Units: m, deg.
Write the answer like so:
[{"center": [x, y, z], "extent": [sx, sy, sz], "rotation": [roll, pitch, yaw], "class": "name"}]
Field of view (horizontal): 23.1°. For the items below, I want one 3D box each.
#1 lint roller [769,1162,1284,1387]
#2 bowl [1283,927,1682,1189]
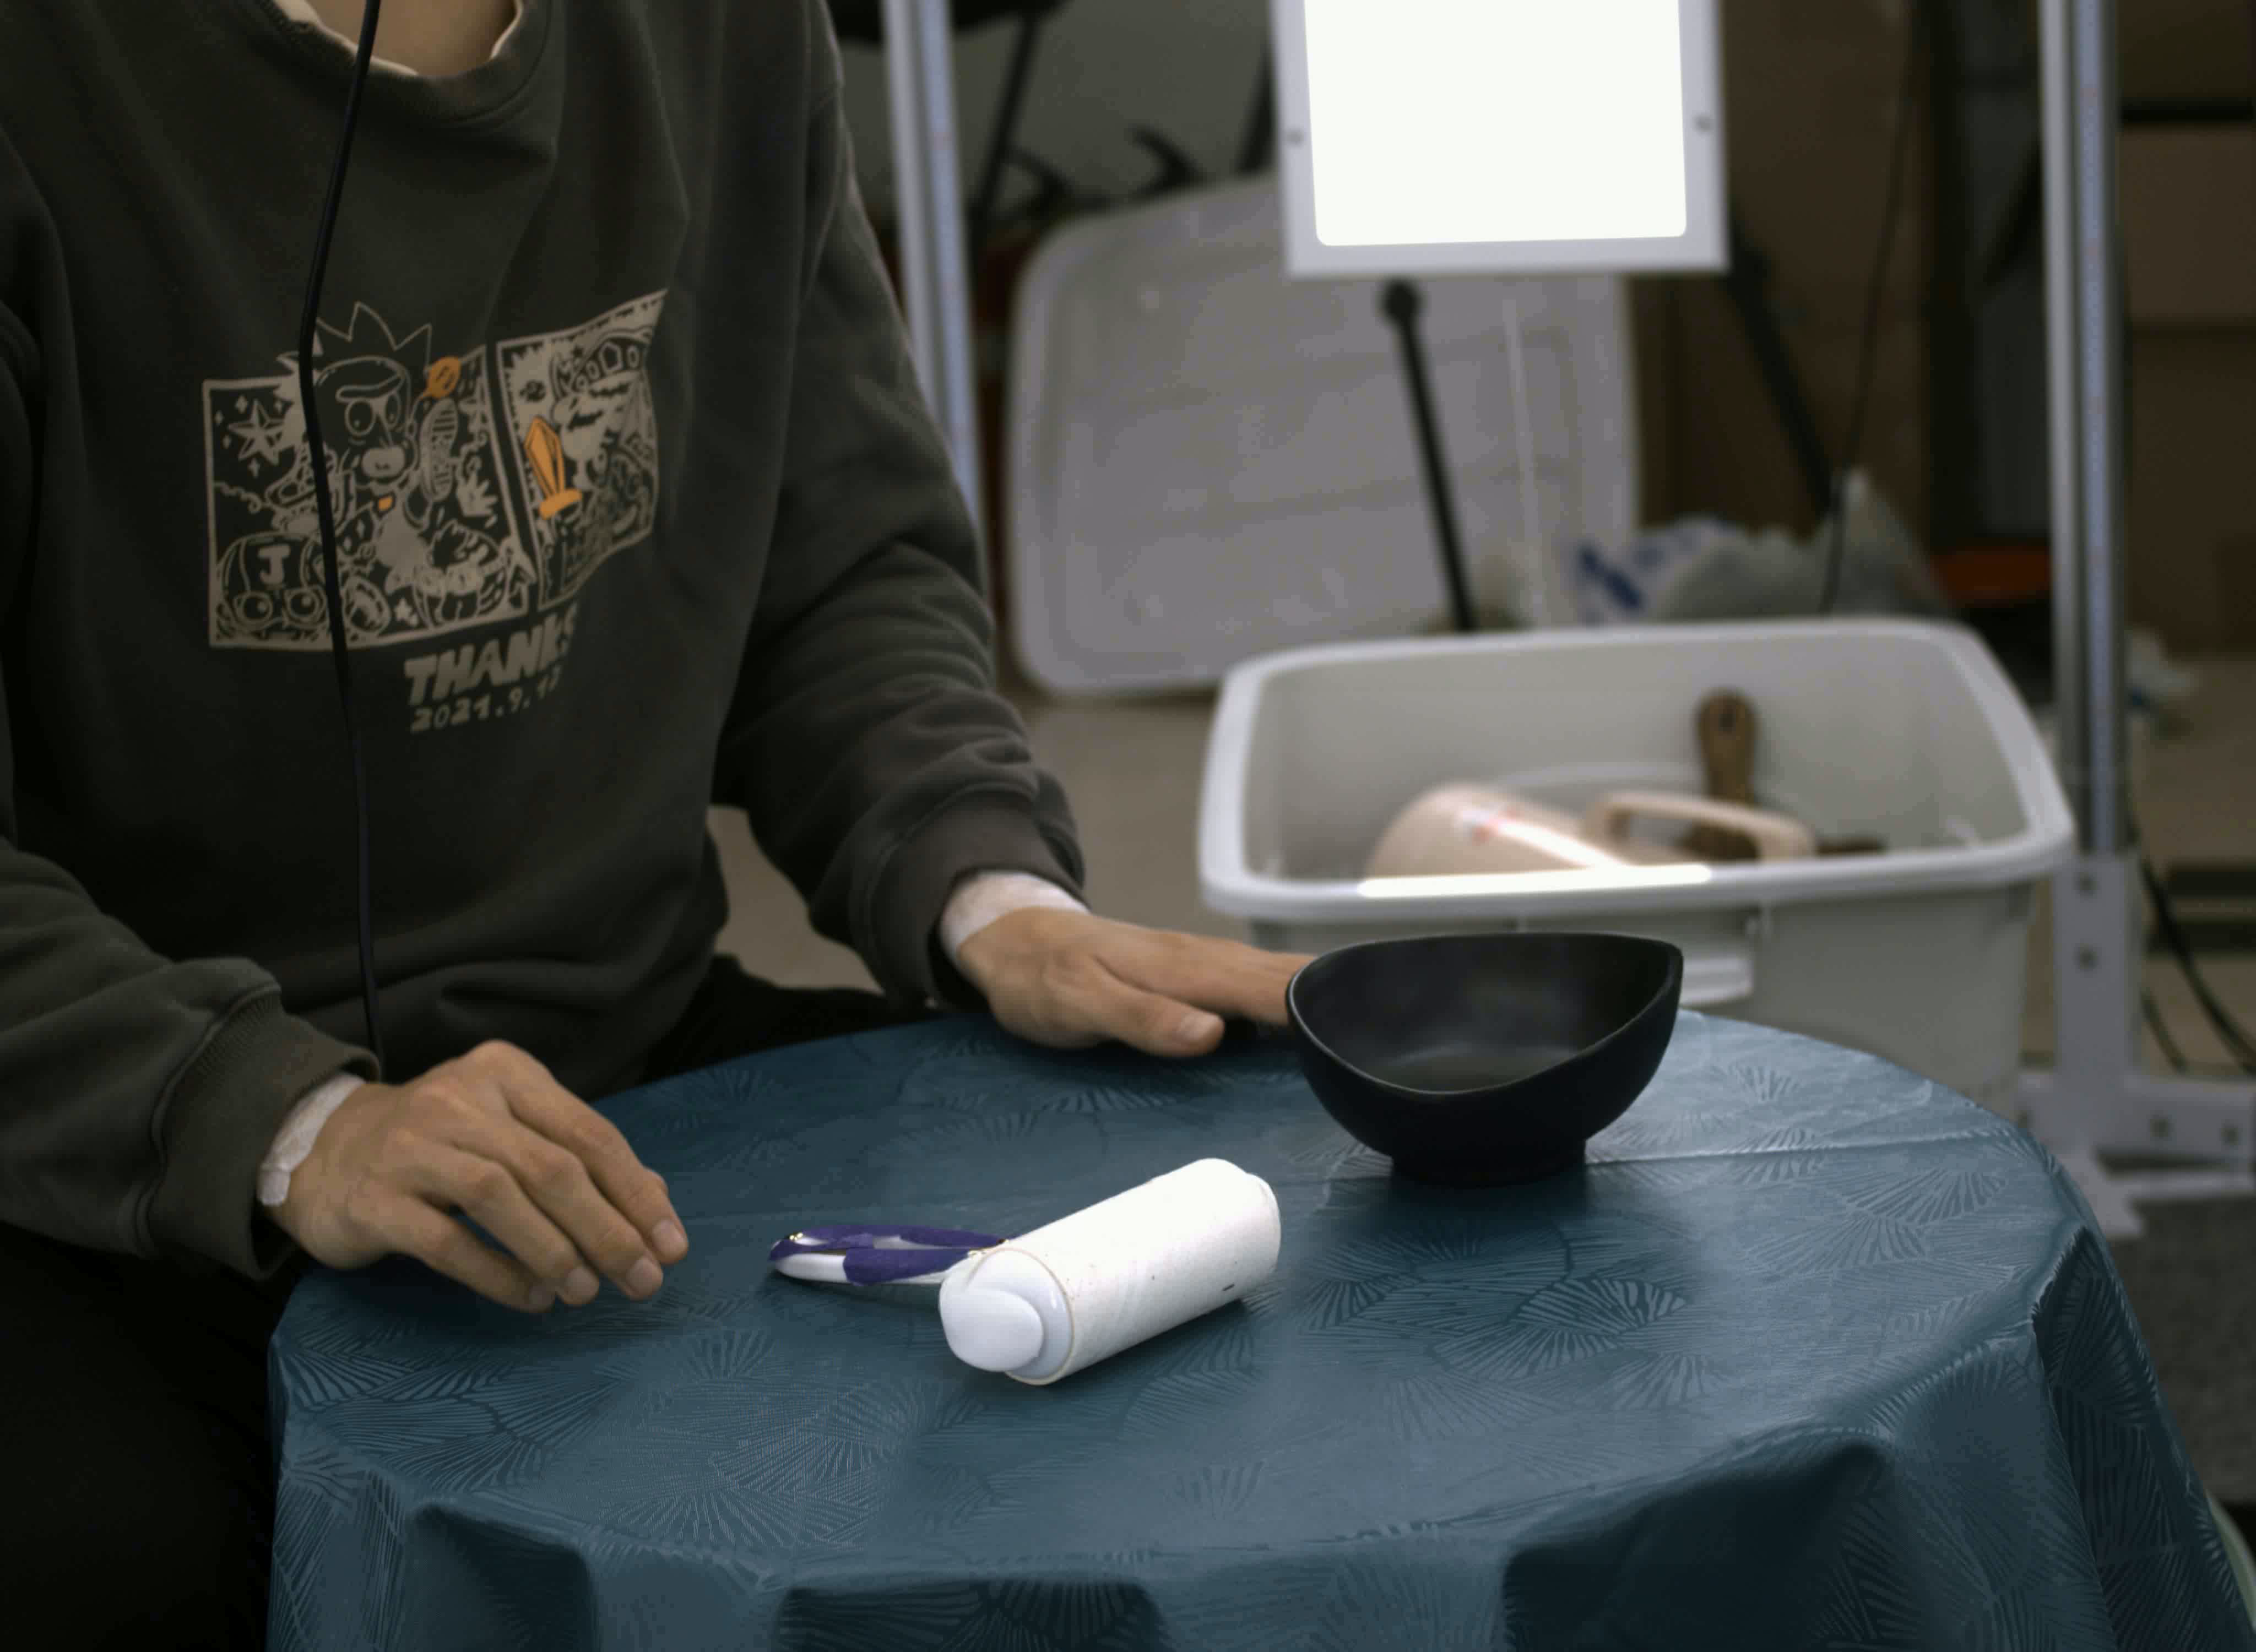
[{"center": [-0.049, 0.132, 1.790], "extent": [0.184, 0.050, 0.129], "rotation": [12, 22, 43], "class": "lint roller"}, {"center": [0.124, 0.084, 1.894], "extent": [0.138, 0.067, 0.168], "rotation": [-3, 15, 12], "class": "bowl"}]
